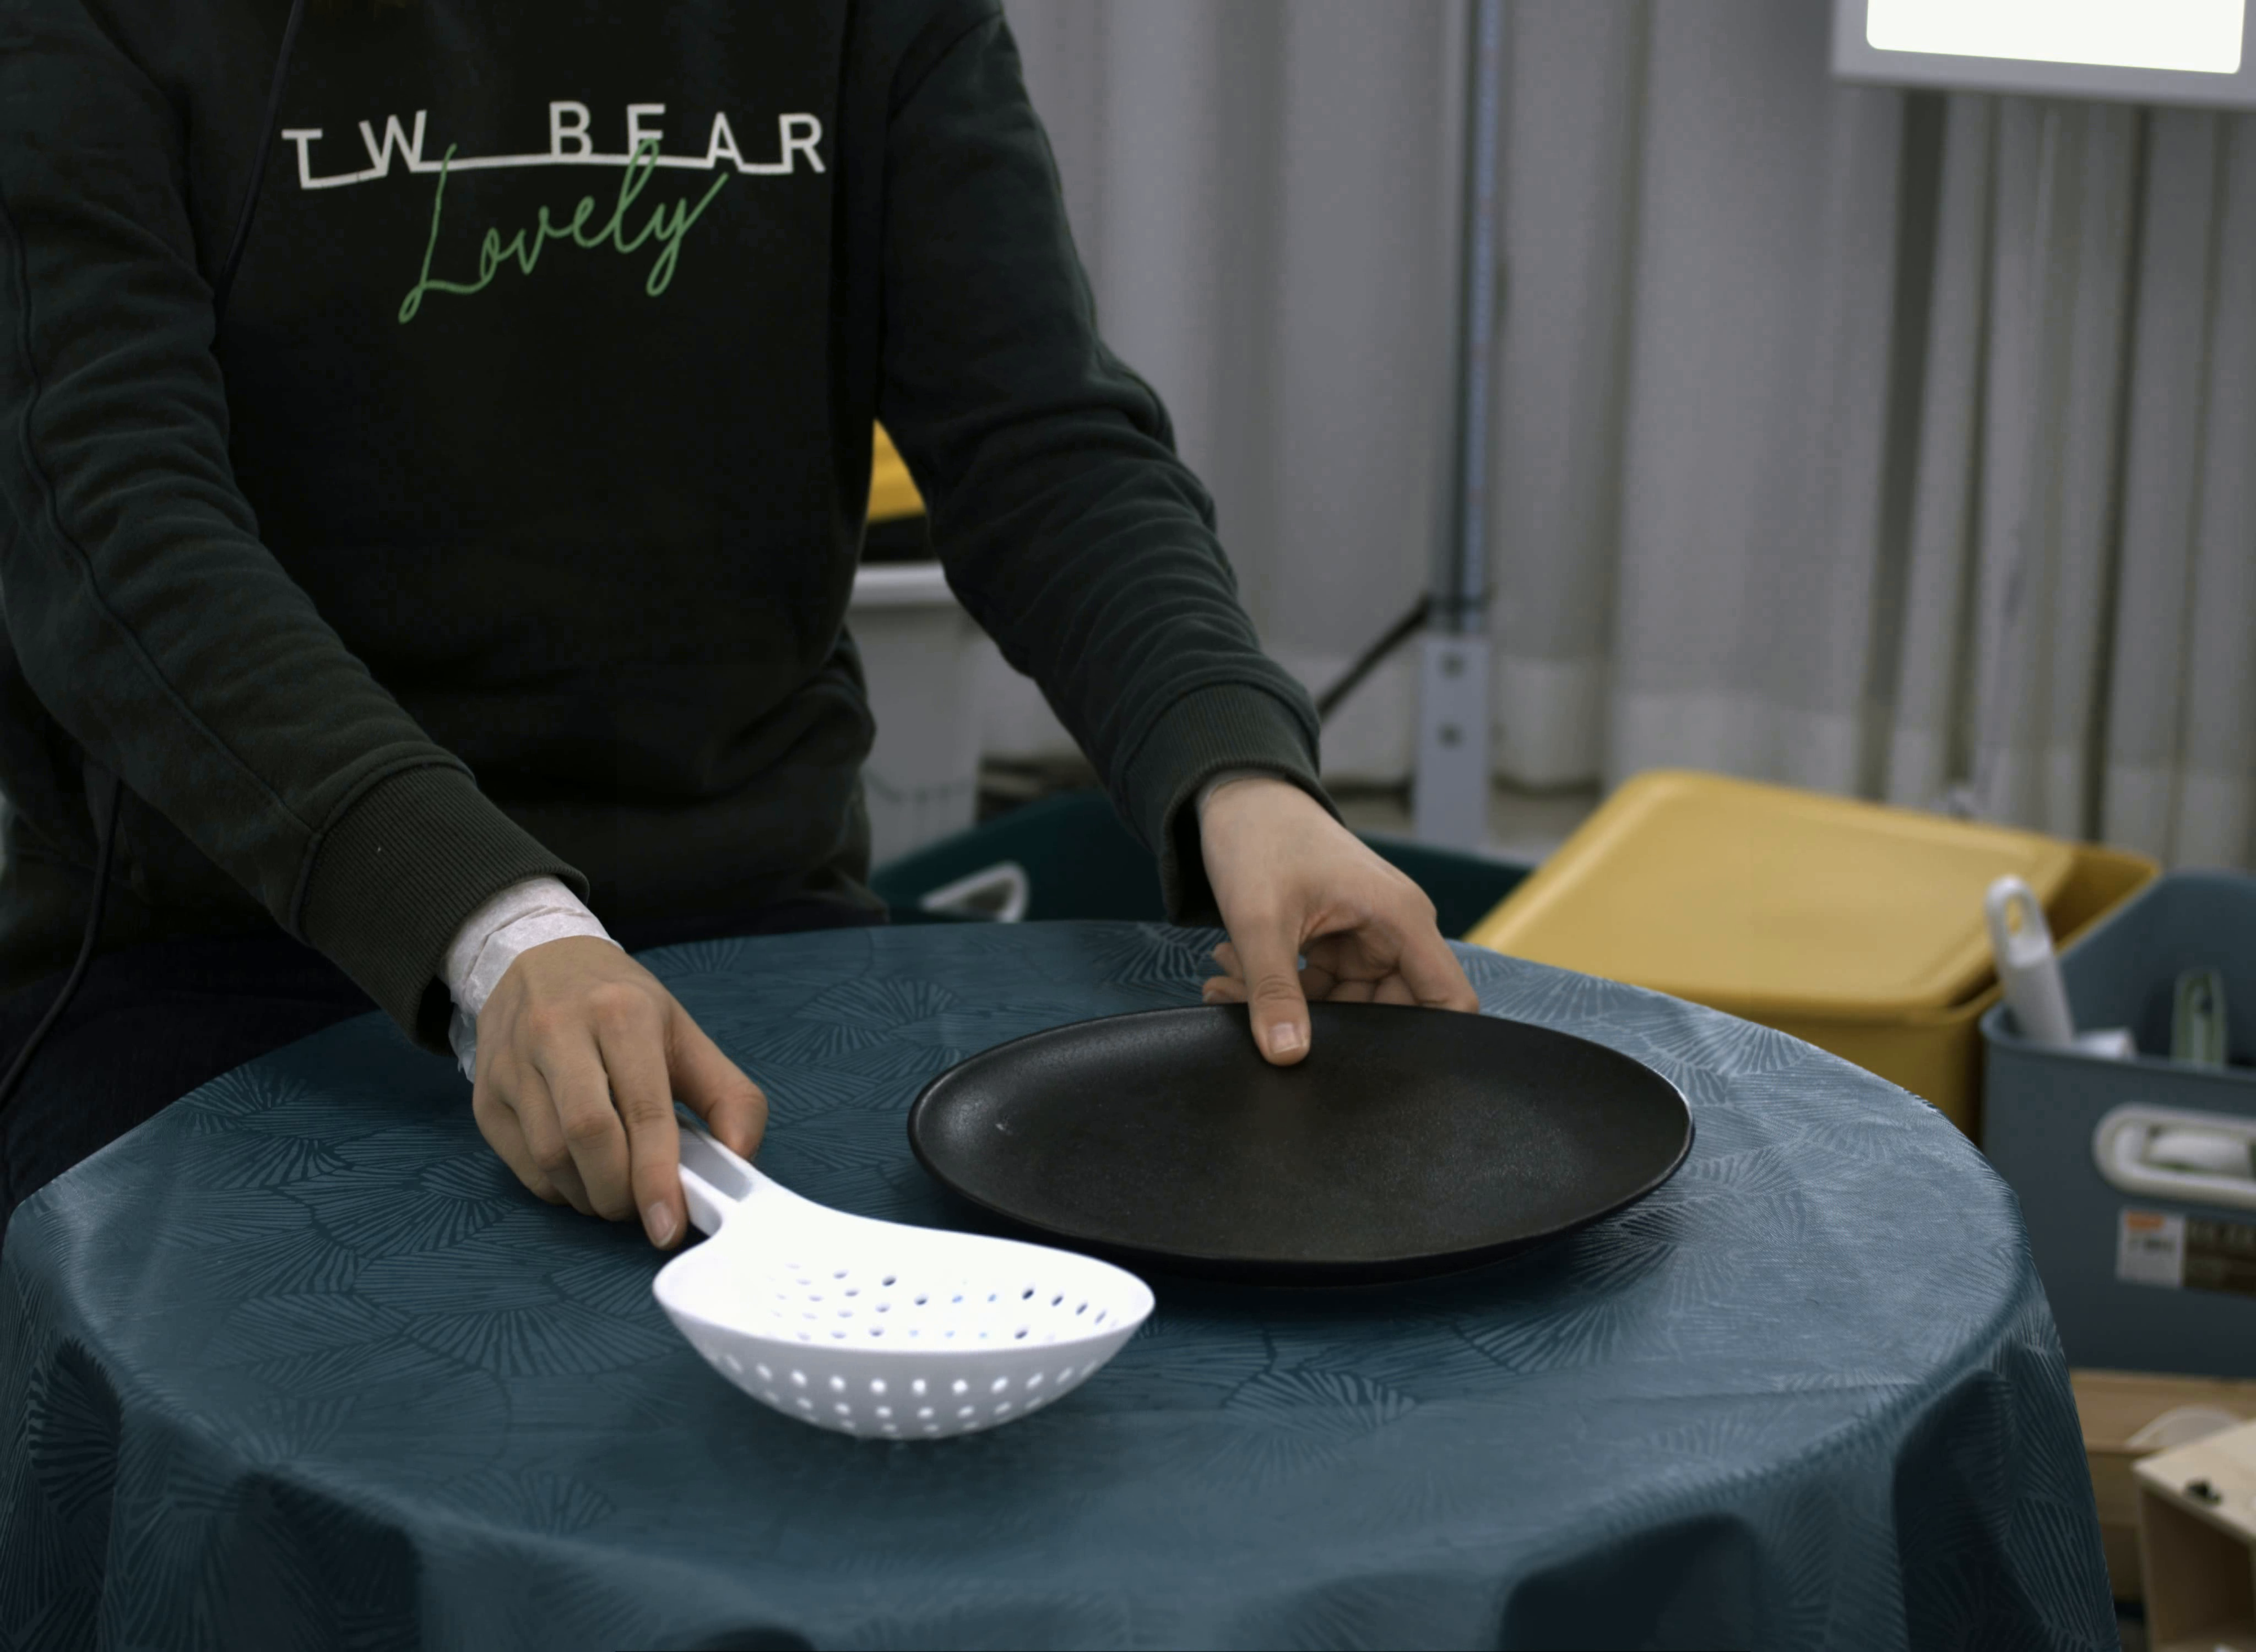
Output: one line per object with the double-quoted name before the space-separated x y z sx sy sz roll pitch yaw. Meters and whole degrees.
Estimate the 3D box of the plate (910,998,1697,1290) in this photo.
"plate" 0.054 0.100 1.625 0.243 0.023 0.243 0 16 1

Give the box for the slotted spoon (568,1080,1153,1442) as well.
"slotted spoon" -0.102 0.116 1.525 0.136 0.046 0.346 1 13 -23
